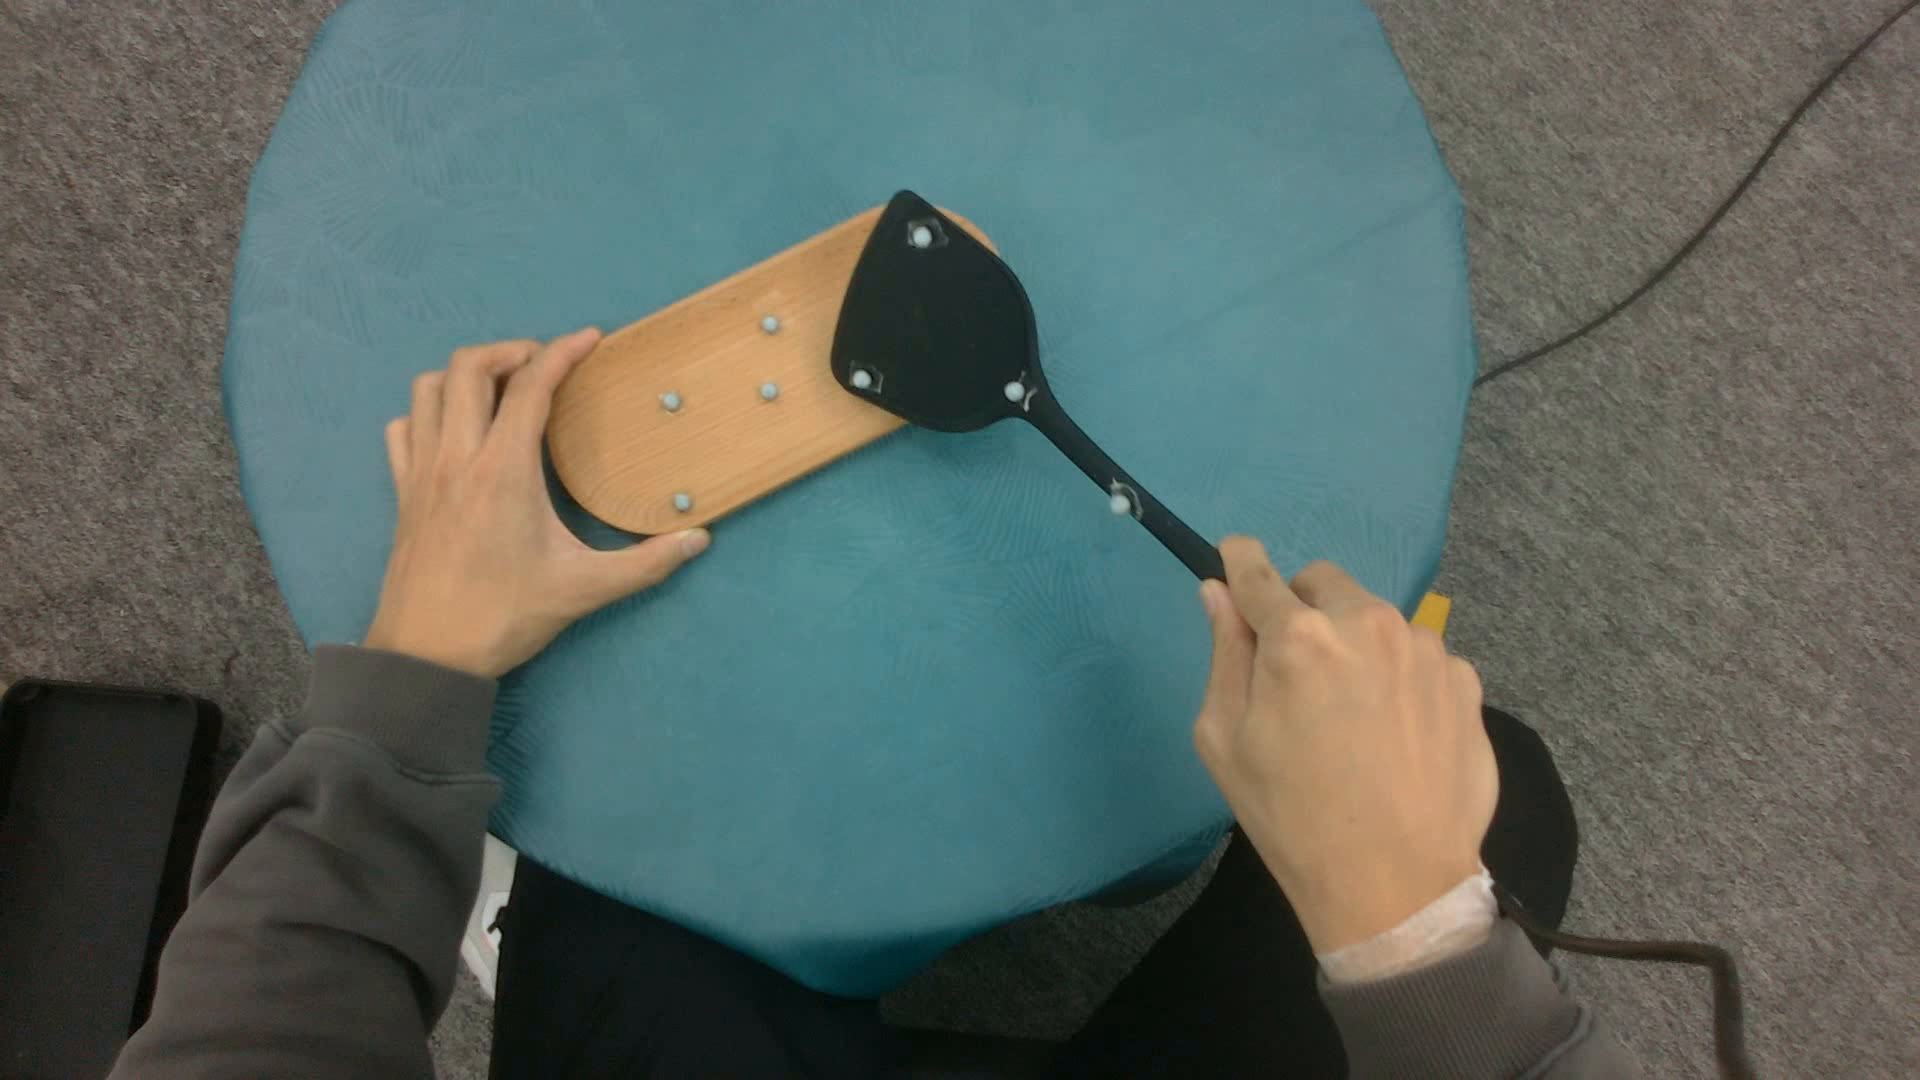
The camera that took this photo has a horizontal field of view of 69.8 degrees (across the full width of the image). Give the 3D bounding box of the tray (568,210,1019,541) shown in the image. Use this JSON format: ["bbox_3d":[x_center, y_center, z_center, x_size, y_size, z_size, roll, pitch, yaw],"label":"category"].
[{"bbox_3d":[-0.079,-0.080,0.668,0.231,0.020,0.102,-28,83,-7],"label":"tray"}]

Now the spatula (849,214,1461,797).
[{"bbox_3d":[0.071,-0.011,0.564,0.040,0.099,0.326,-11,48,-44],"label":"spatula"}]
